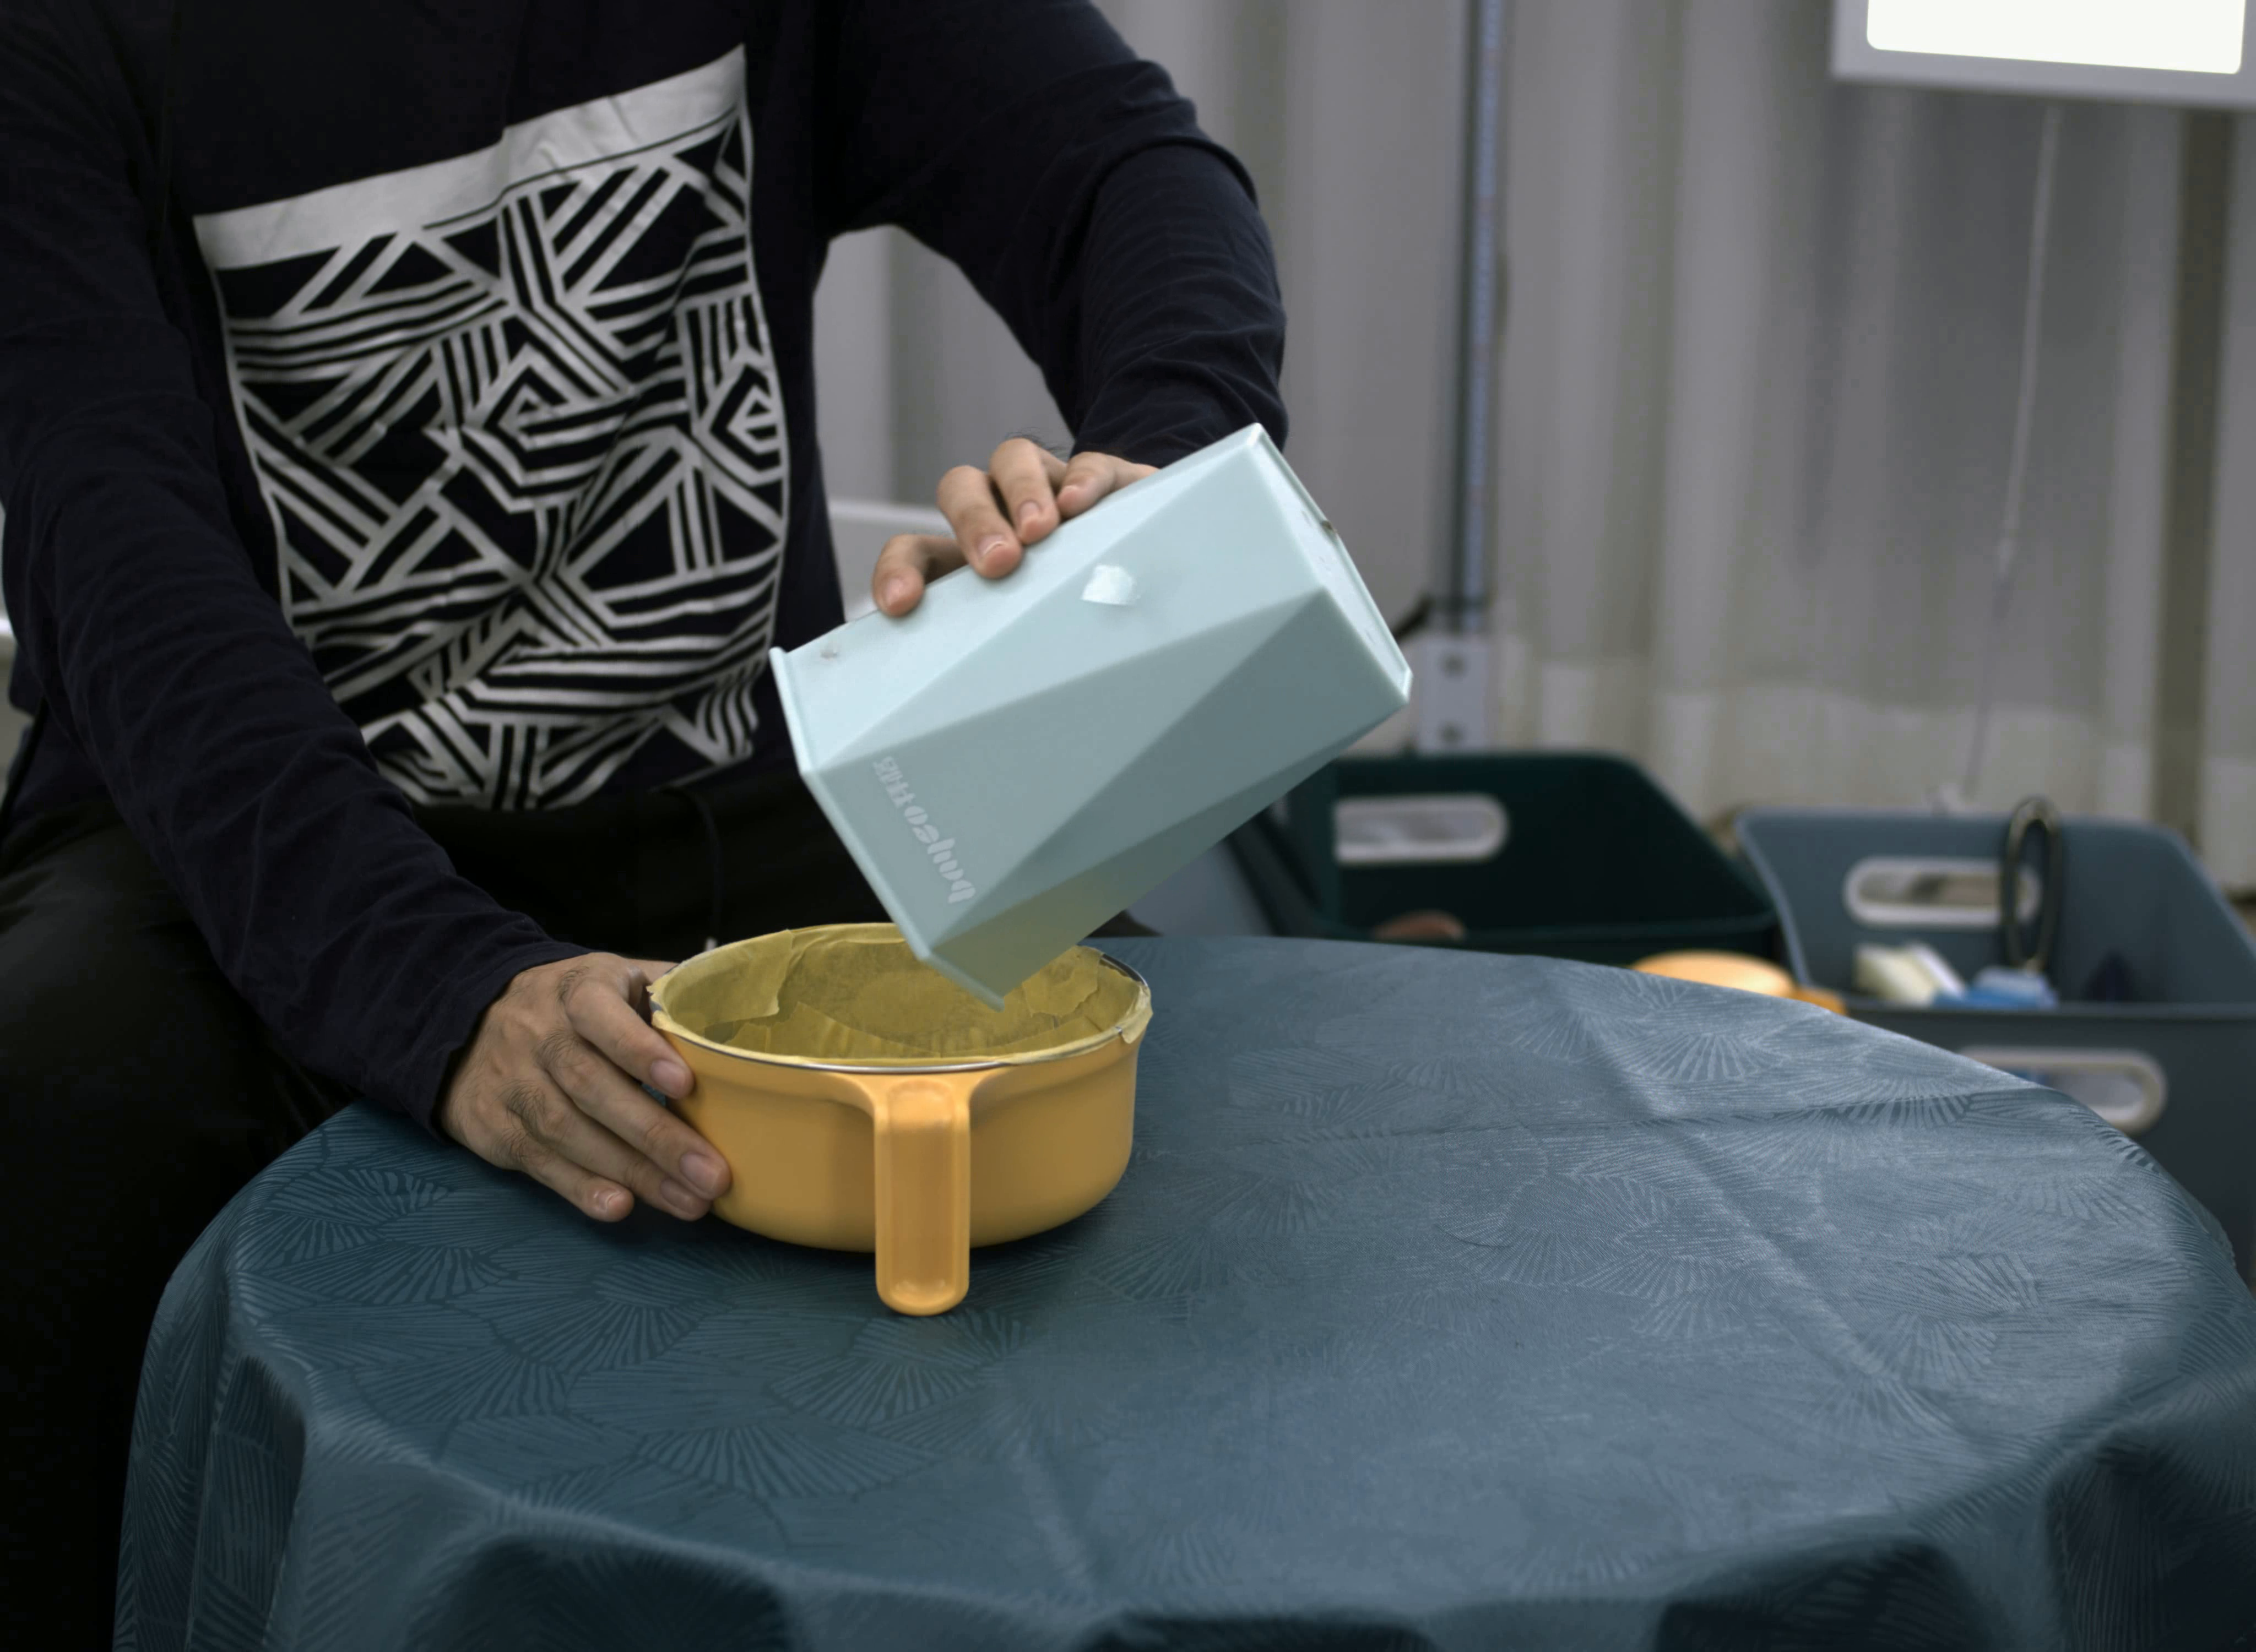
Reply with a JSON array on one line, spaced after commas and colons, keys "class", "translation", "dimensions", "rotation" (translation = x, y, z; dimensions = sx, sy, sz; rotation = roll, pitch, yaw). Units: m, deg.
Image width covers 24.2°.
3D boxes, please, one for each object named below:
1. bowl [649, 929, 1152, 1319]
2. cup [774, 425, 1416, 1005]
[{"class": "bowl", "translation": [-0.068, 0.086, 1.593], "dimensions": [0.153, 0.075, 0.178], "rotation": [-2, 14, -10]}, {"class": "cup", "translation": [-0.007, -0.040, 1.581], "dimensions": [0.162, 0.131, 0.115], "rotation": [-29, 5, 10]}]
